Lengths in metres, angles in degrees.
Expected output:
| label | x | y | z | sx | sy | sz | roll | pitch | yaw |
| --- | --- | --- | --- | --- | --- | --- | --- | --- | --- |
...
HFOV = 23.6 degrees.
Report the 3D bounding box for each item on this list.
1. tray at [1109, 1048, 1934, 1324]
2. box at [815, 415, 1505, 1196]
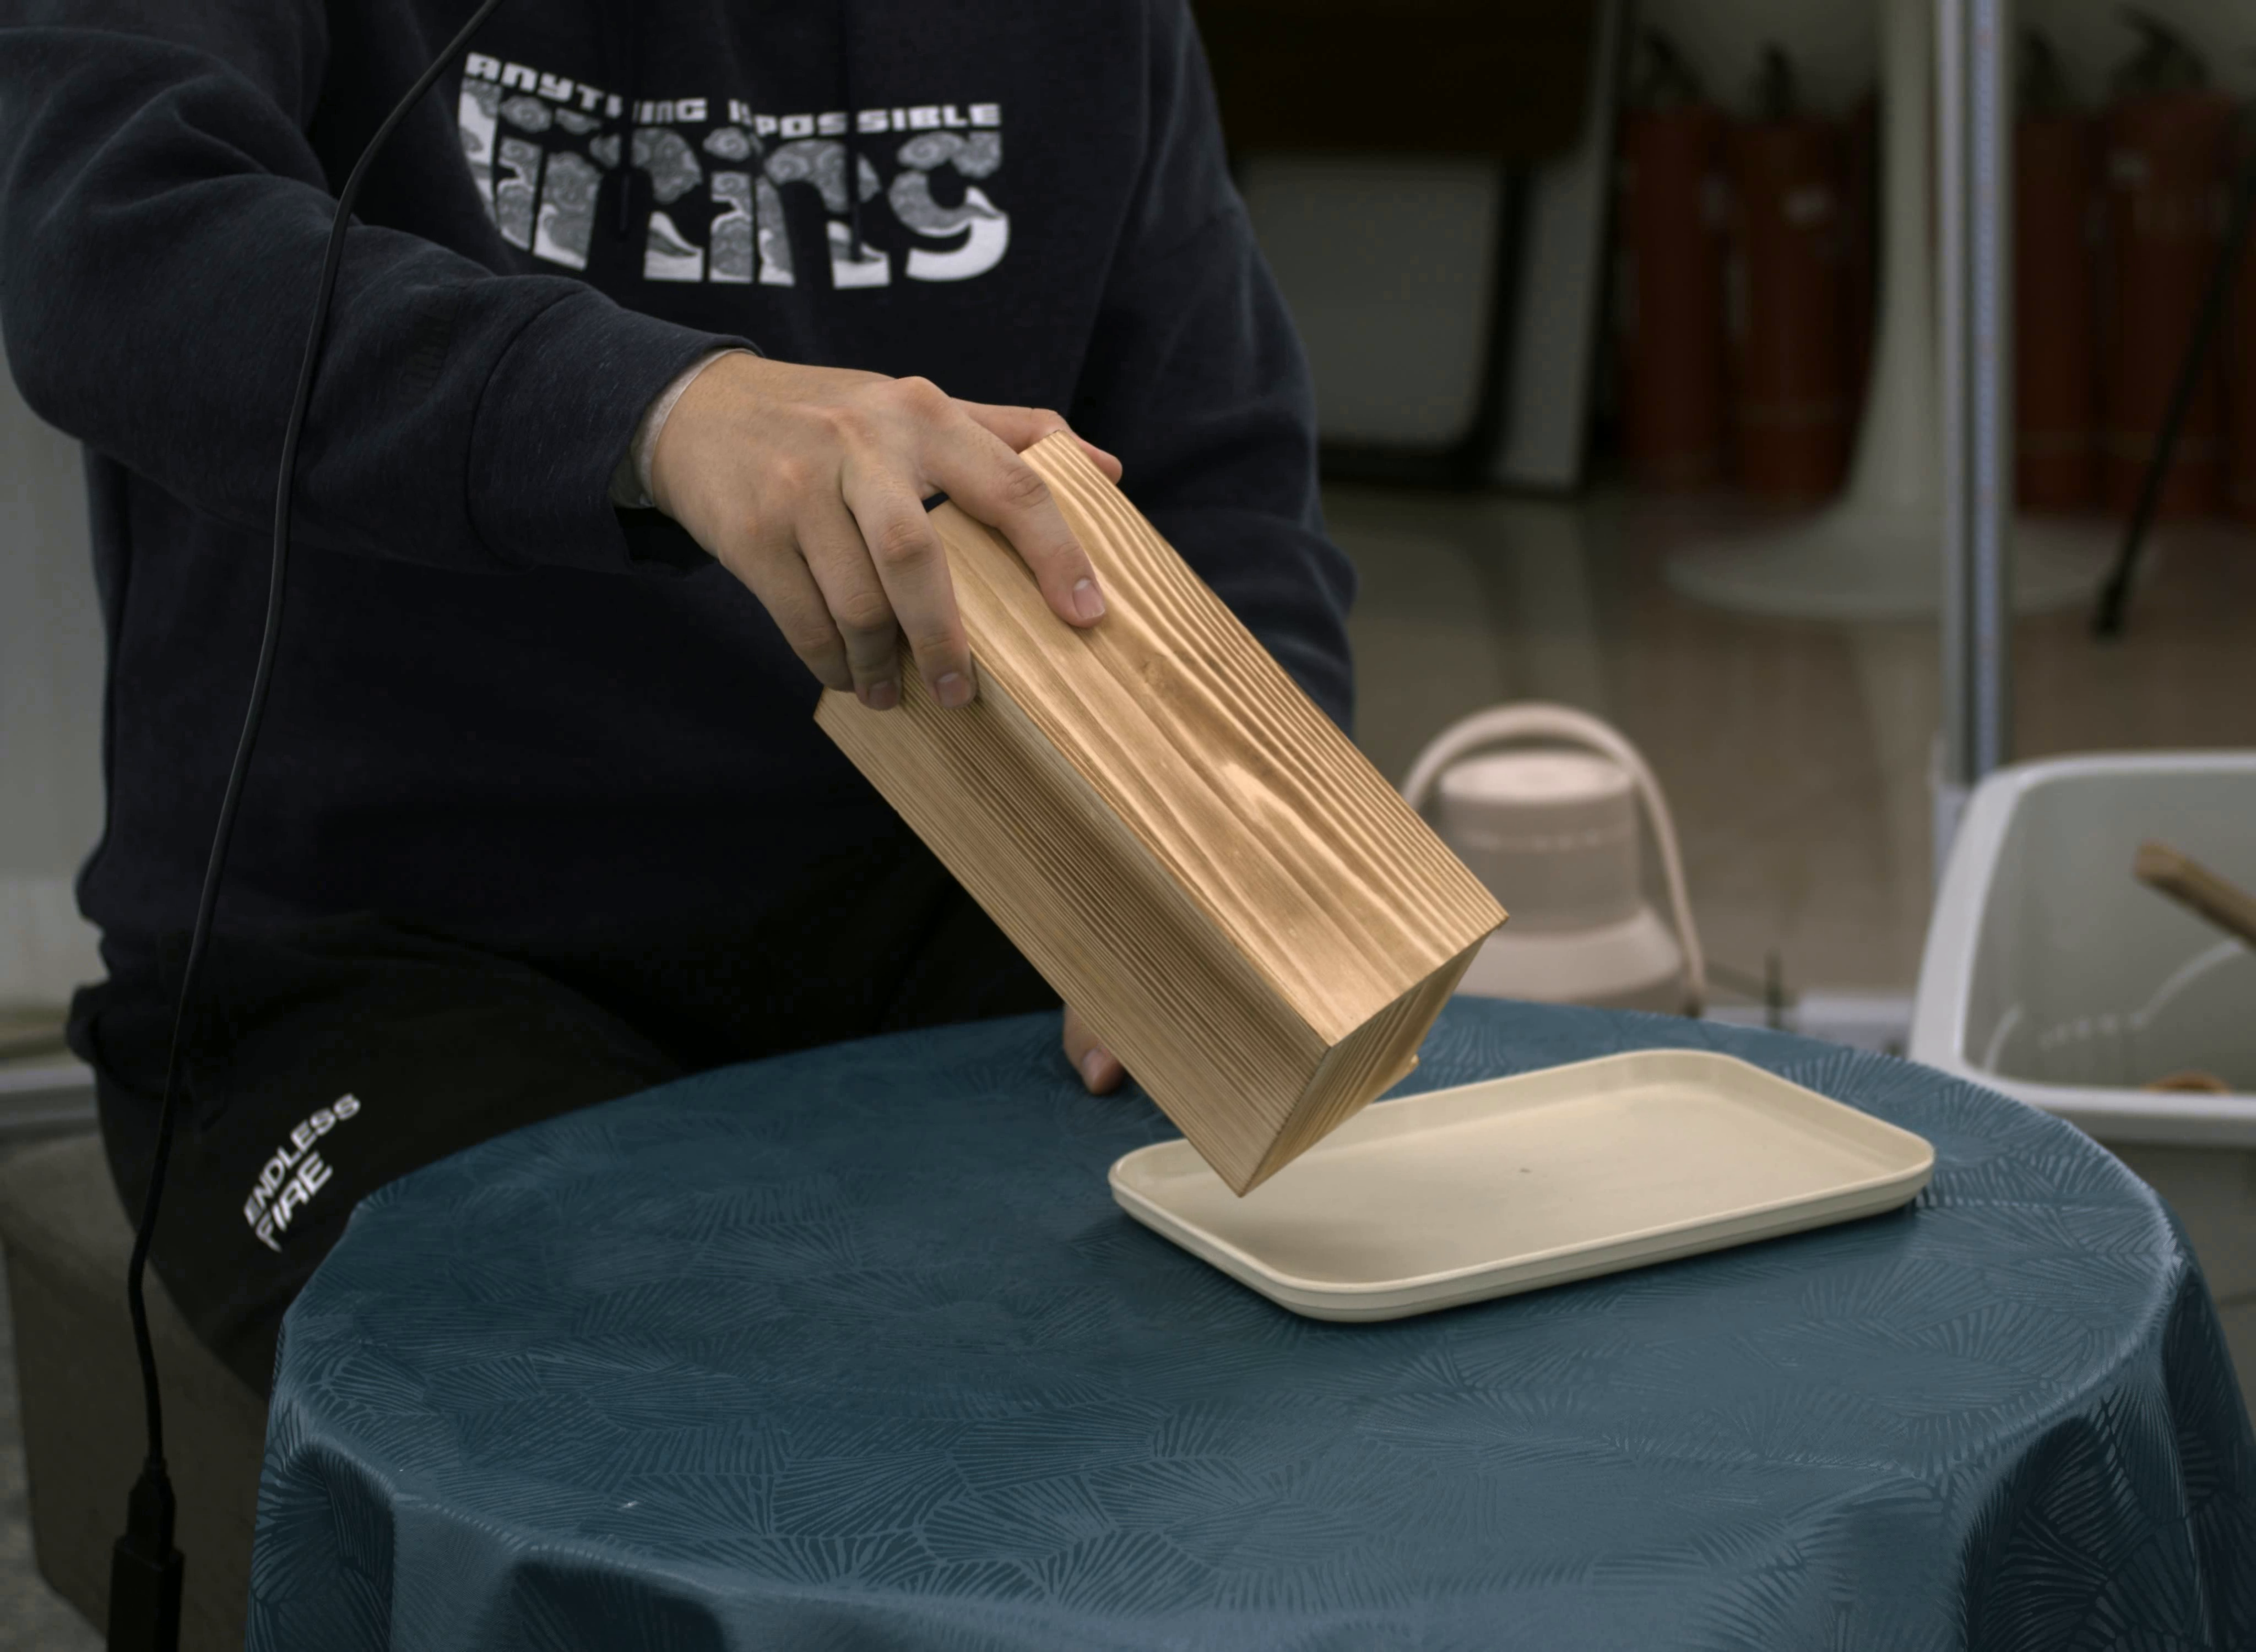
| label | x | y | z | sx | sy | sz | roll | pitch | yaw |
| --- | --- | --- | --- | --- | --- | --- | --- | --- | --- |
| tray | 0.126 | 0.115 | 1.729 | 0.234 | 0.017 | 0.173 | -11 | 14 | -24 |
| box | 0.006 | -0.006 | 1.669 | 0.079 | 0.213 | 0.108 | -33 | -17 | -29 |
